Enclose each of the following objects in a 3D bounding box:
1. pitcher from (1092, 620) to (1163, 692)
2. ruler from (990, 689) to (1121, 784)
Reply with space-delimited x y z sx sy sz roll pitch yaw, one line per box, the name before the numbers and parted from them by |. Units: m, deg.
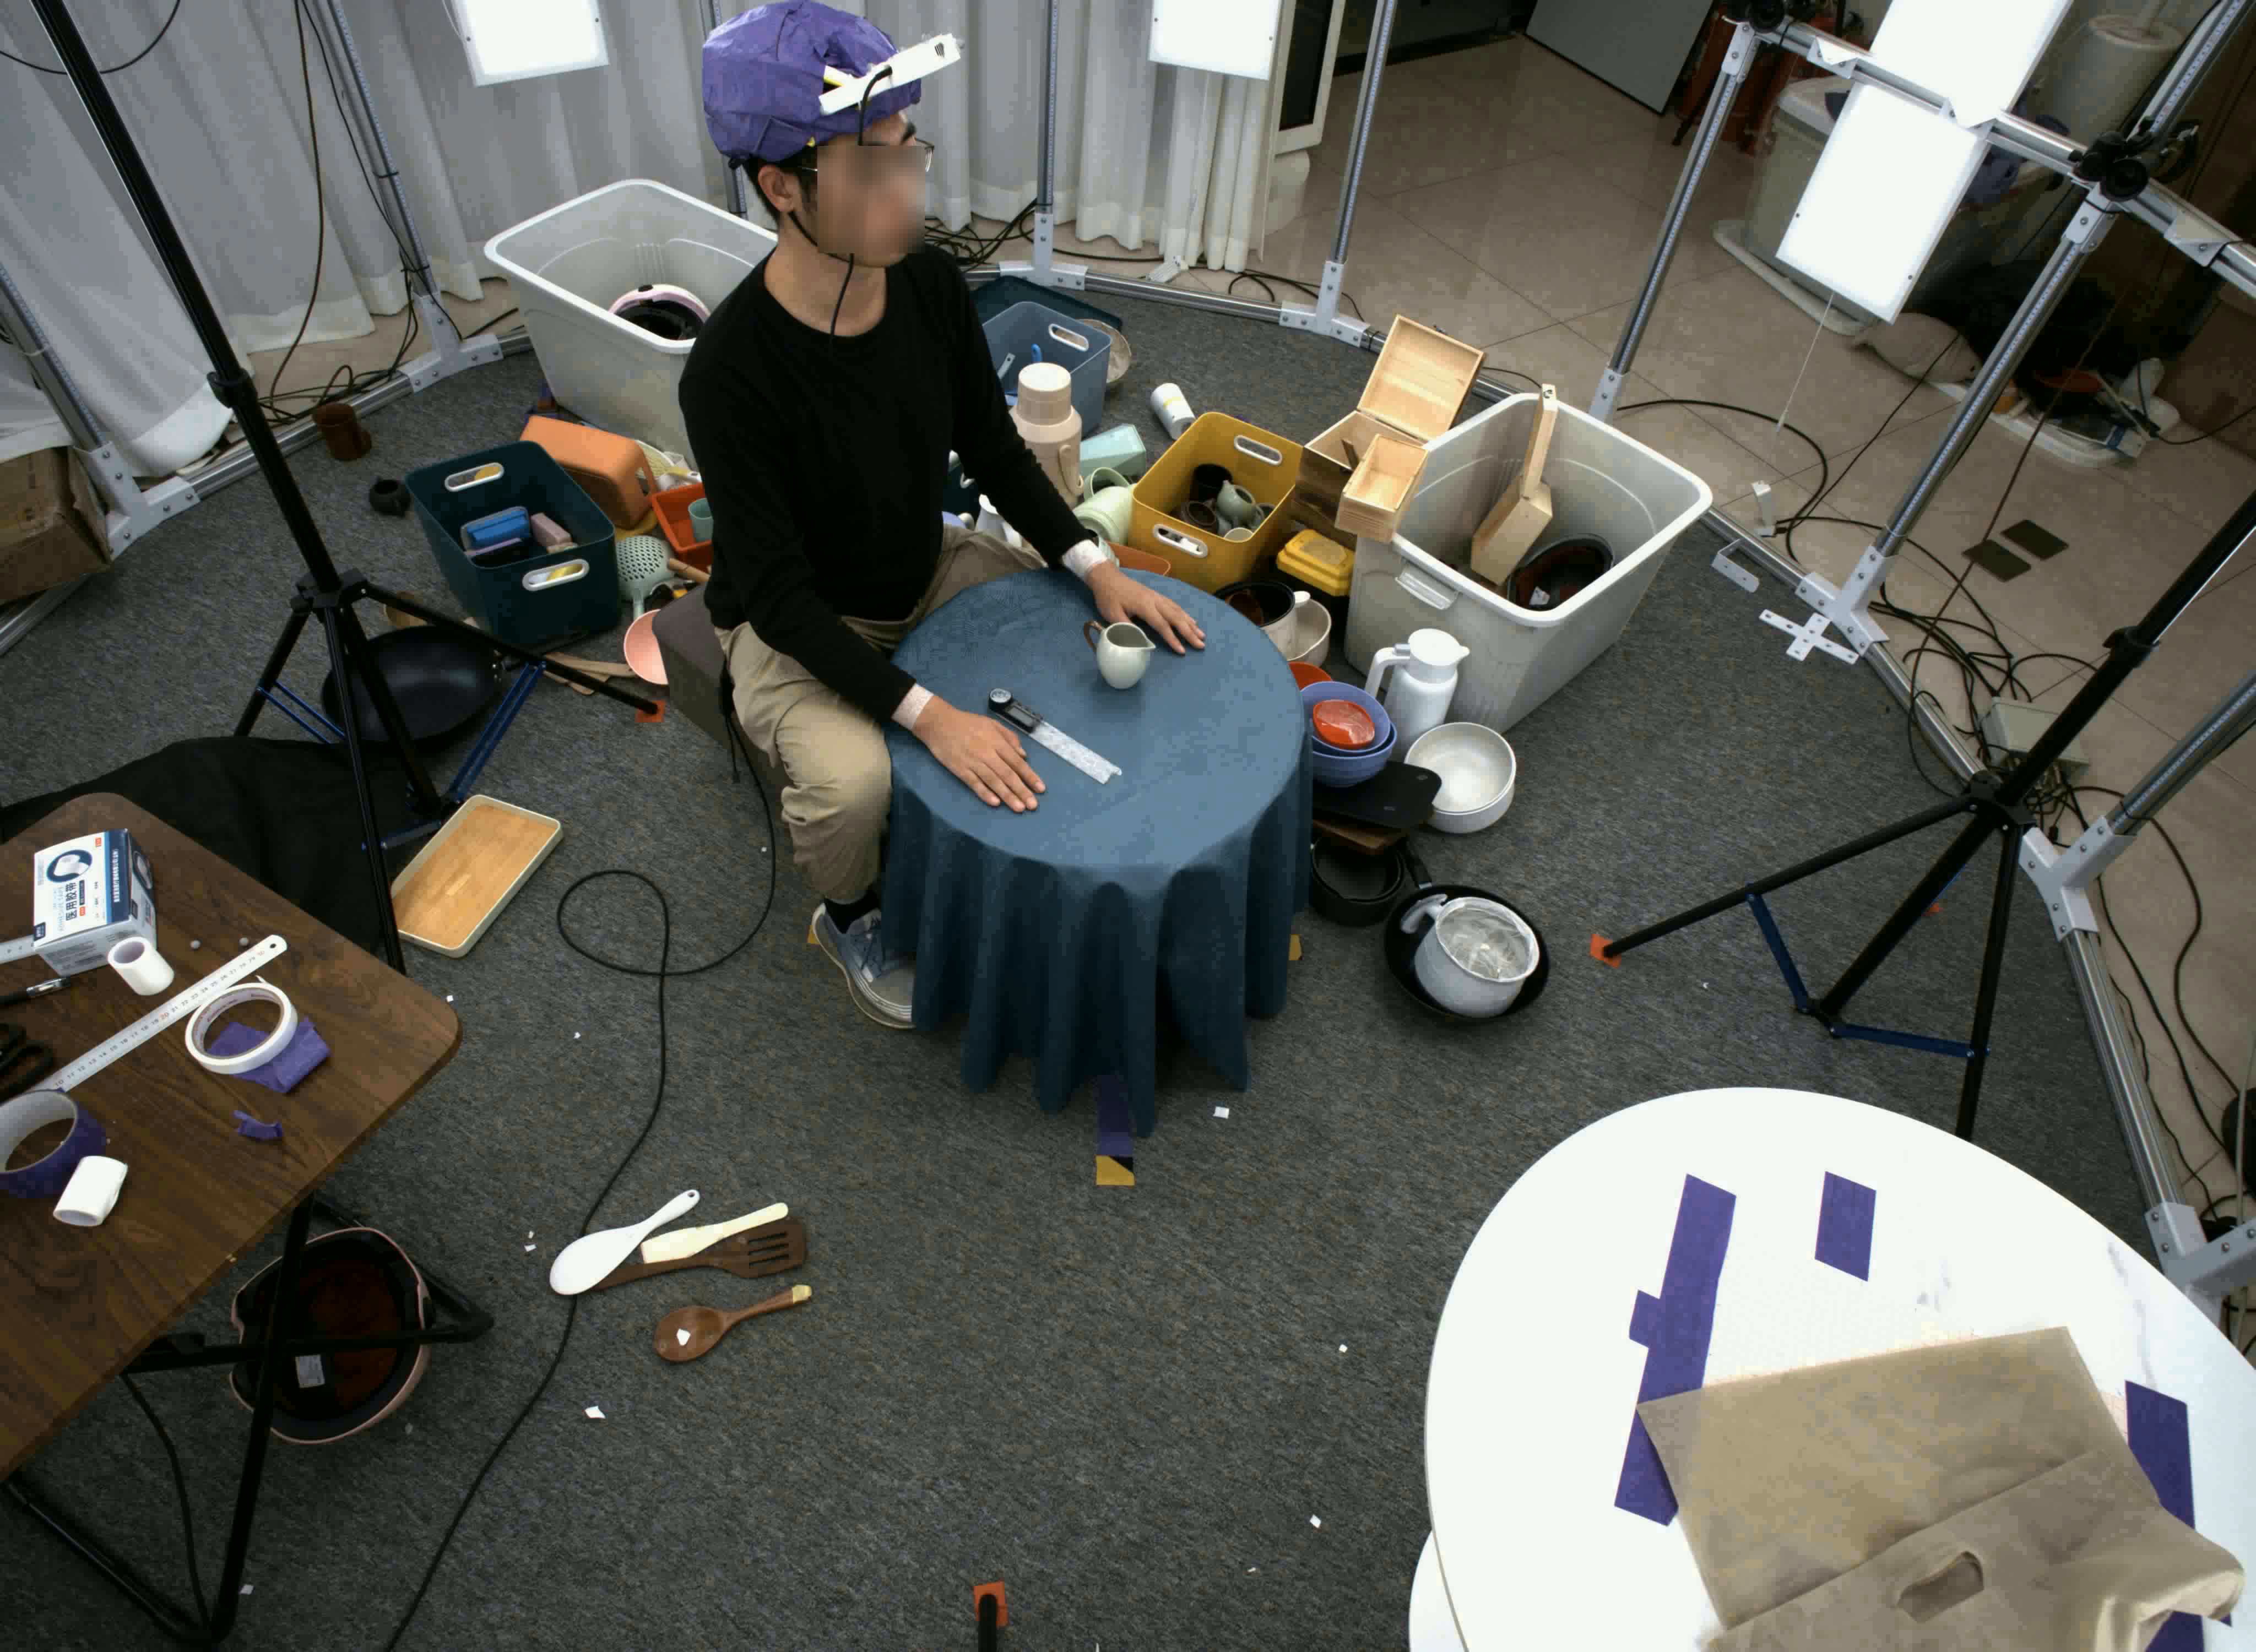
pitcher | -0.005 -0.242 1.823 0.120 0.086 0.077 33 51 20
ruler | -0.105 -0.127 1.758 0.221 0.023 0.039 33 61 24
